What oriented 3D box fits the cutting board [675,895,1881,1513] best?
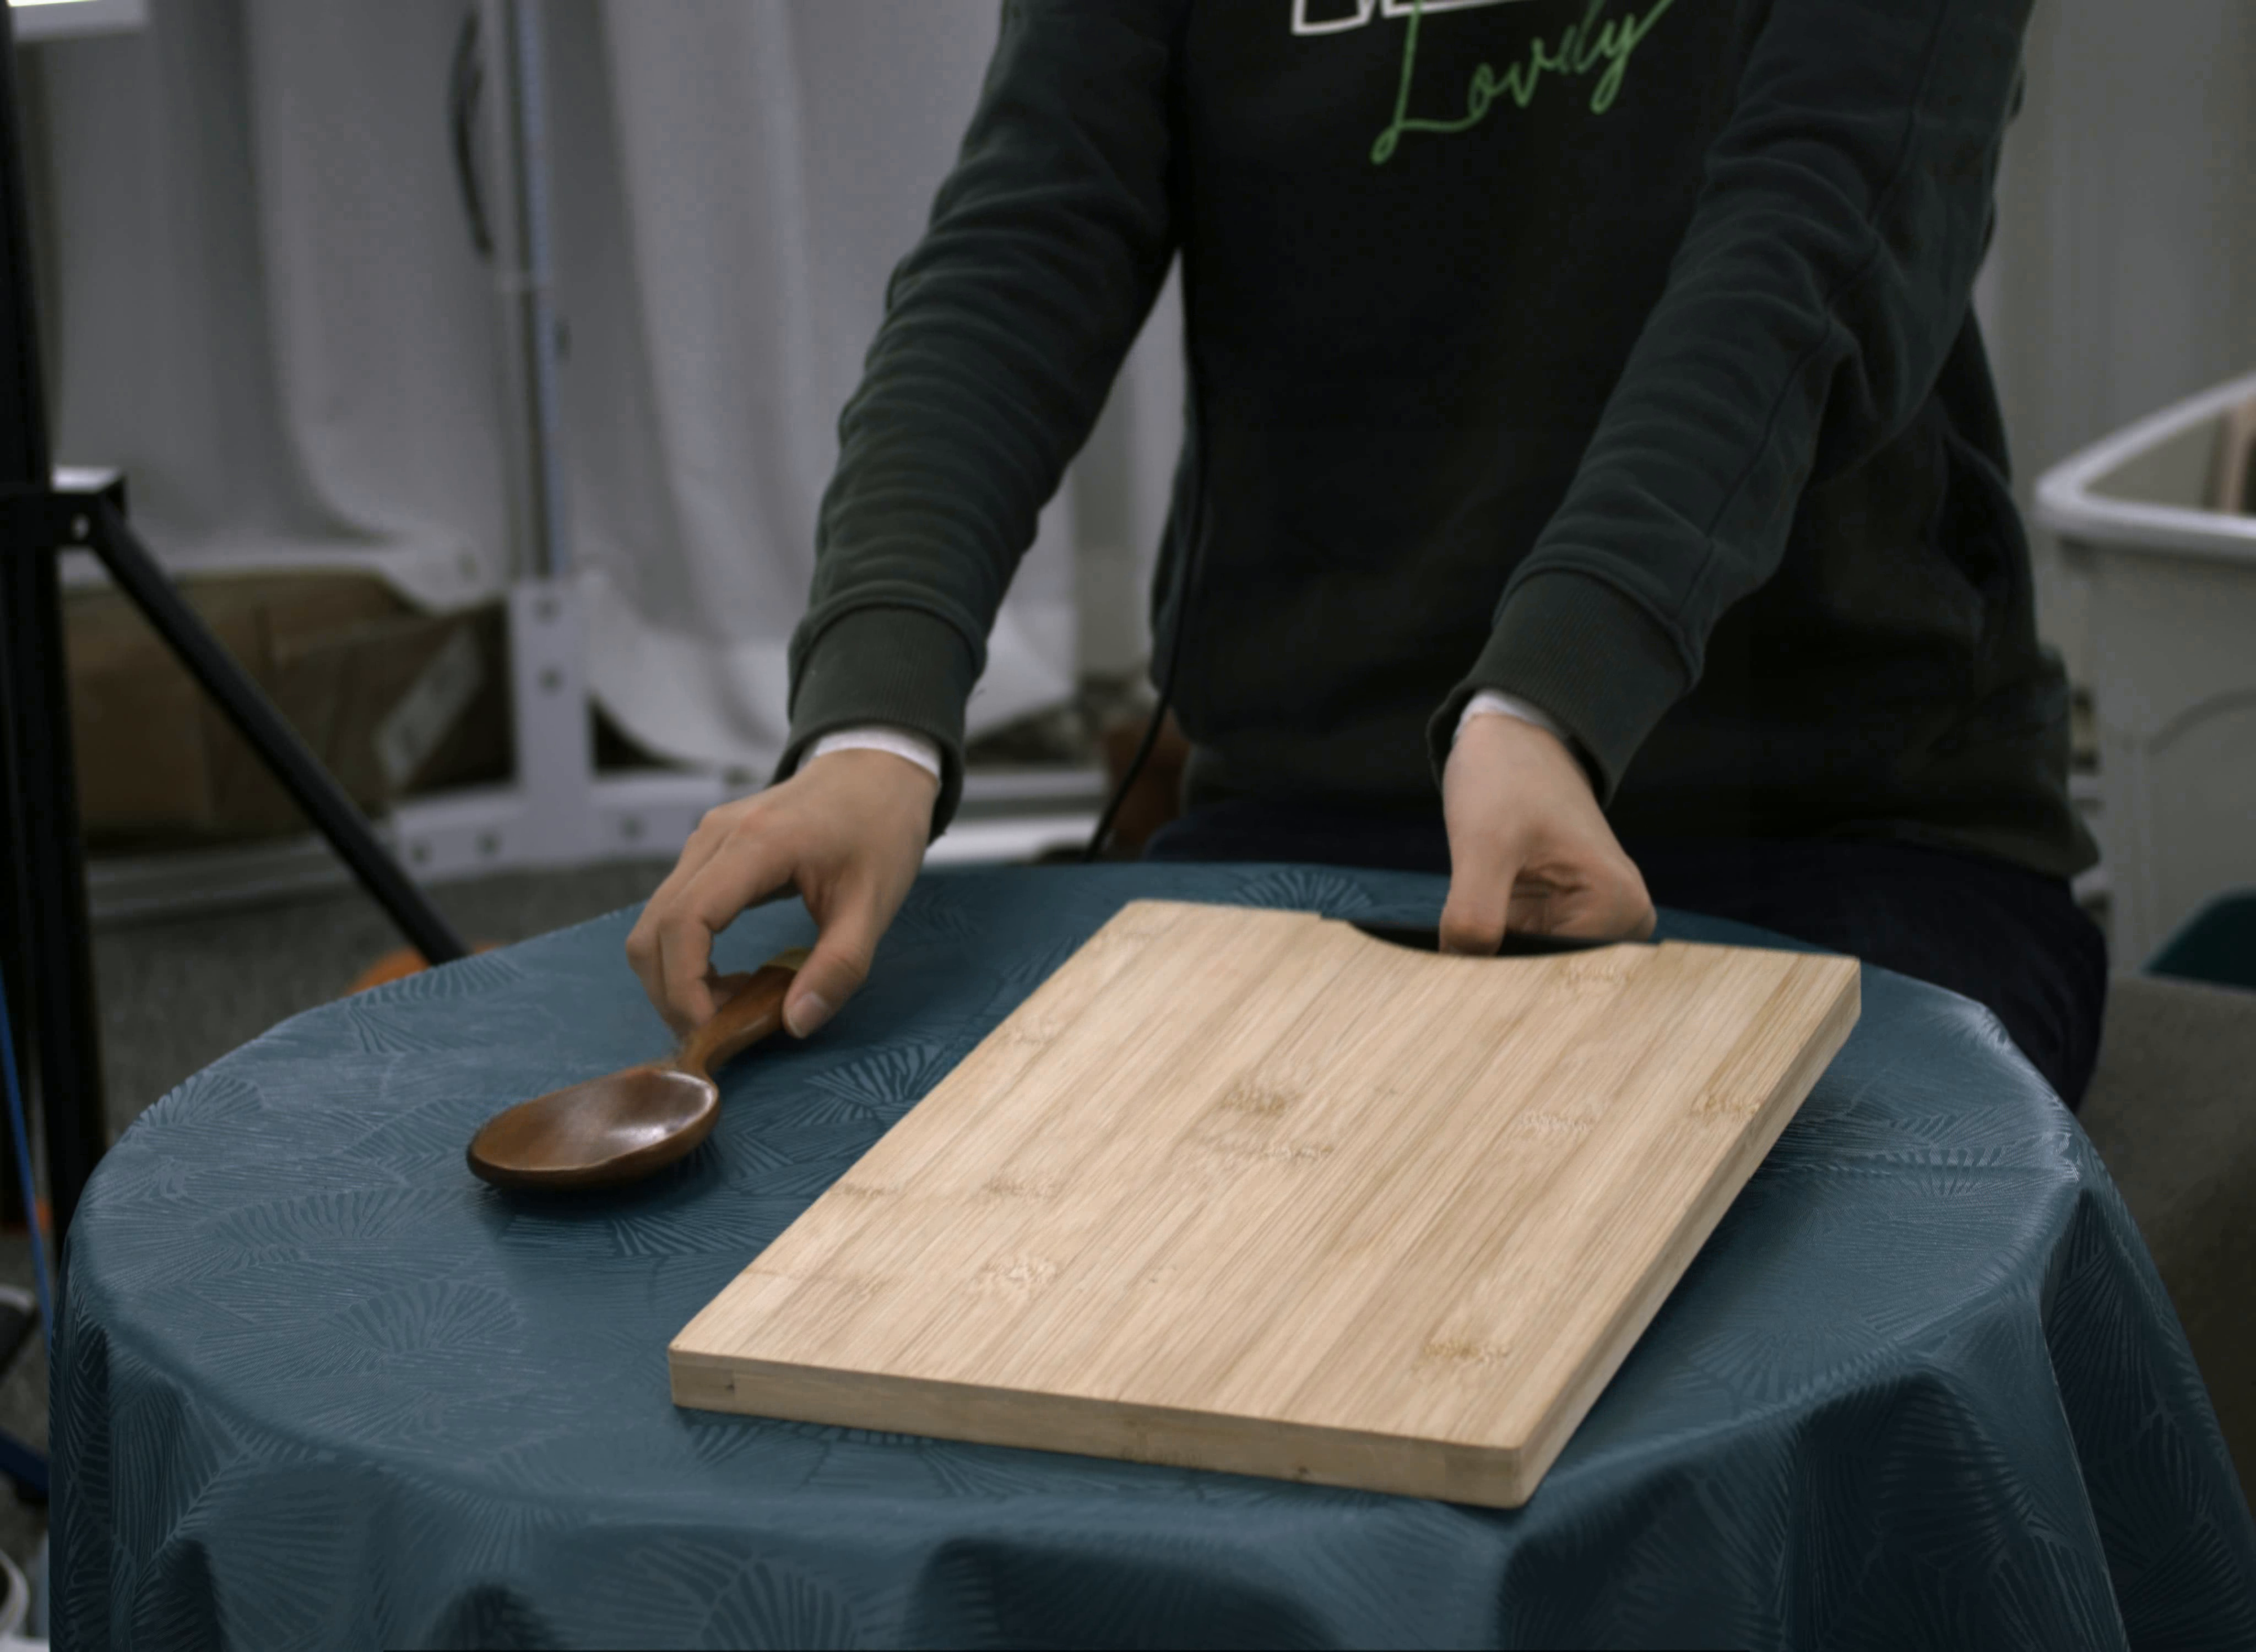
[{"bbox_3d":[0.053,0.097,1.513,0.254,0.023,0.345,4,21,22],"label":"cutting board"}]

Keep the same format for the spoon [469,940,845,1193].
[{"bbox_3d":[-0.136,0.076,1.653,0.076,0.017,0.213,-5,16,22],"label":"spoon"}]
